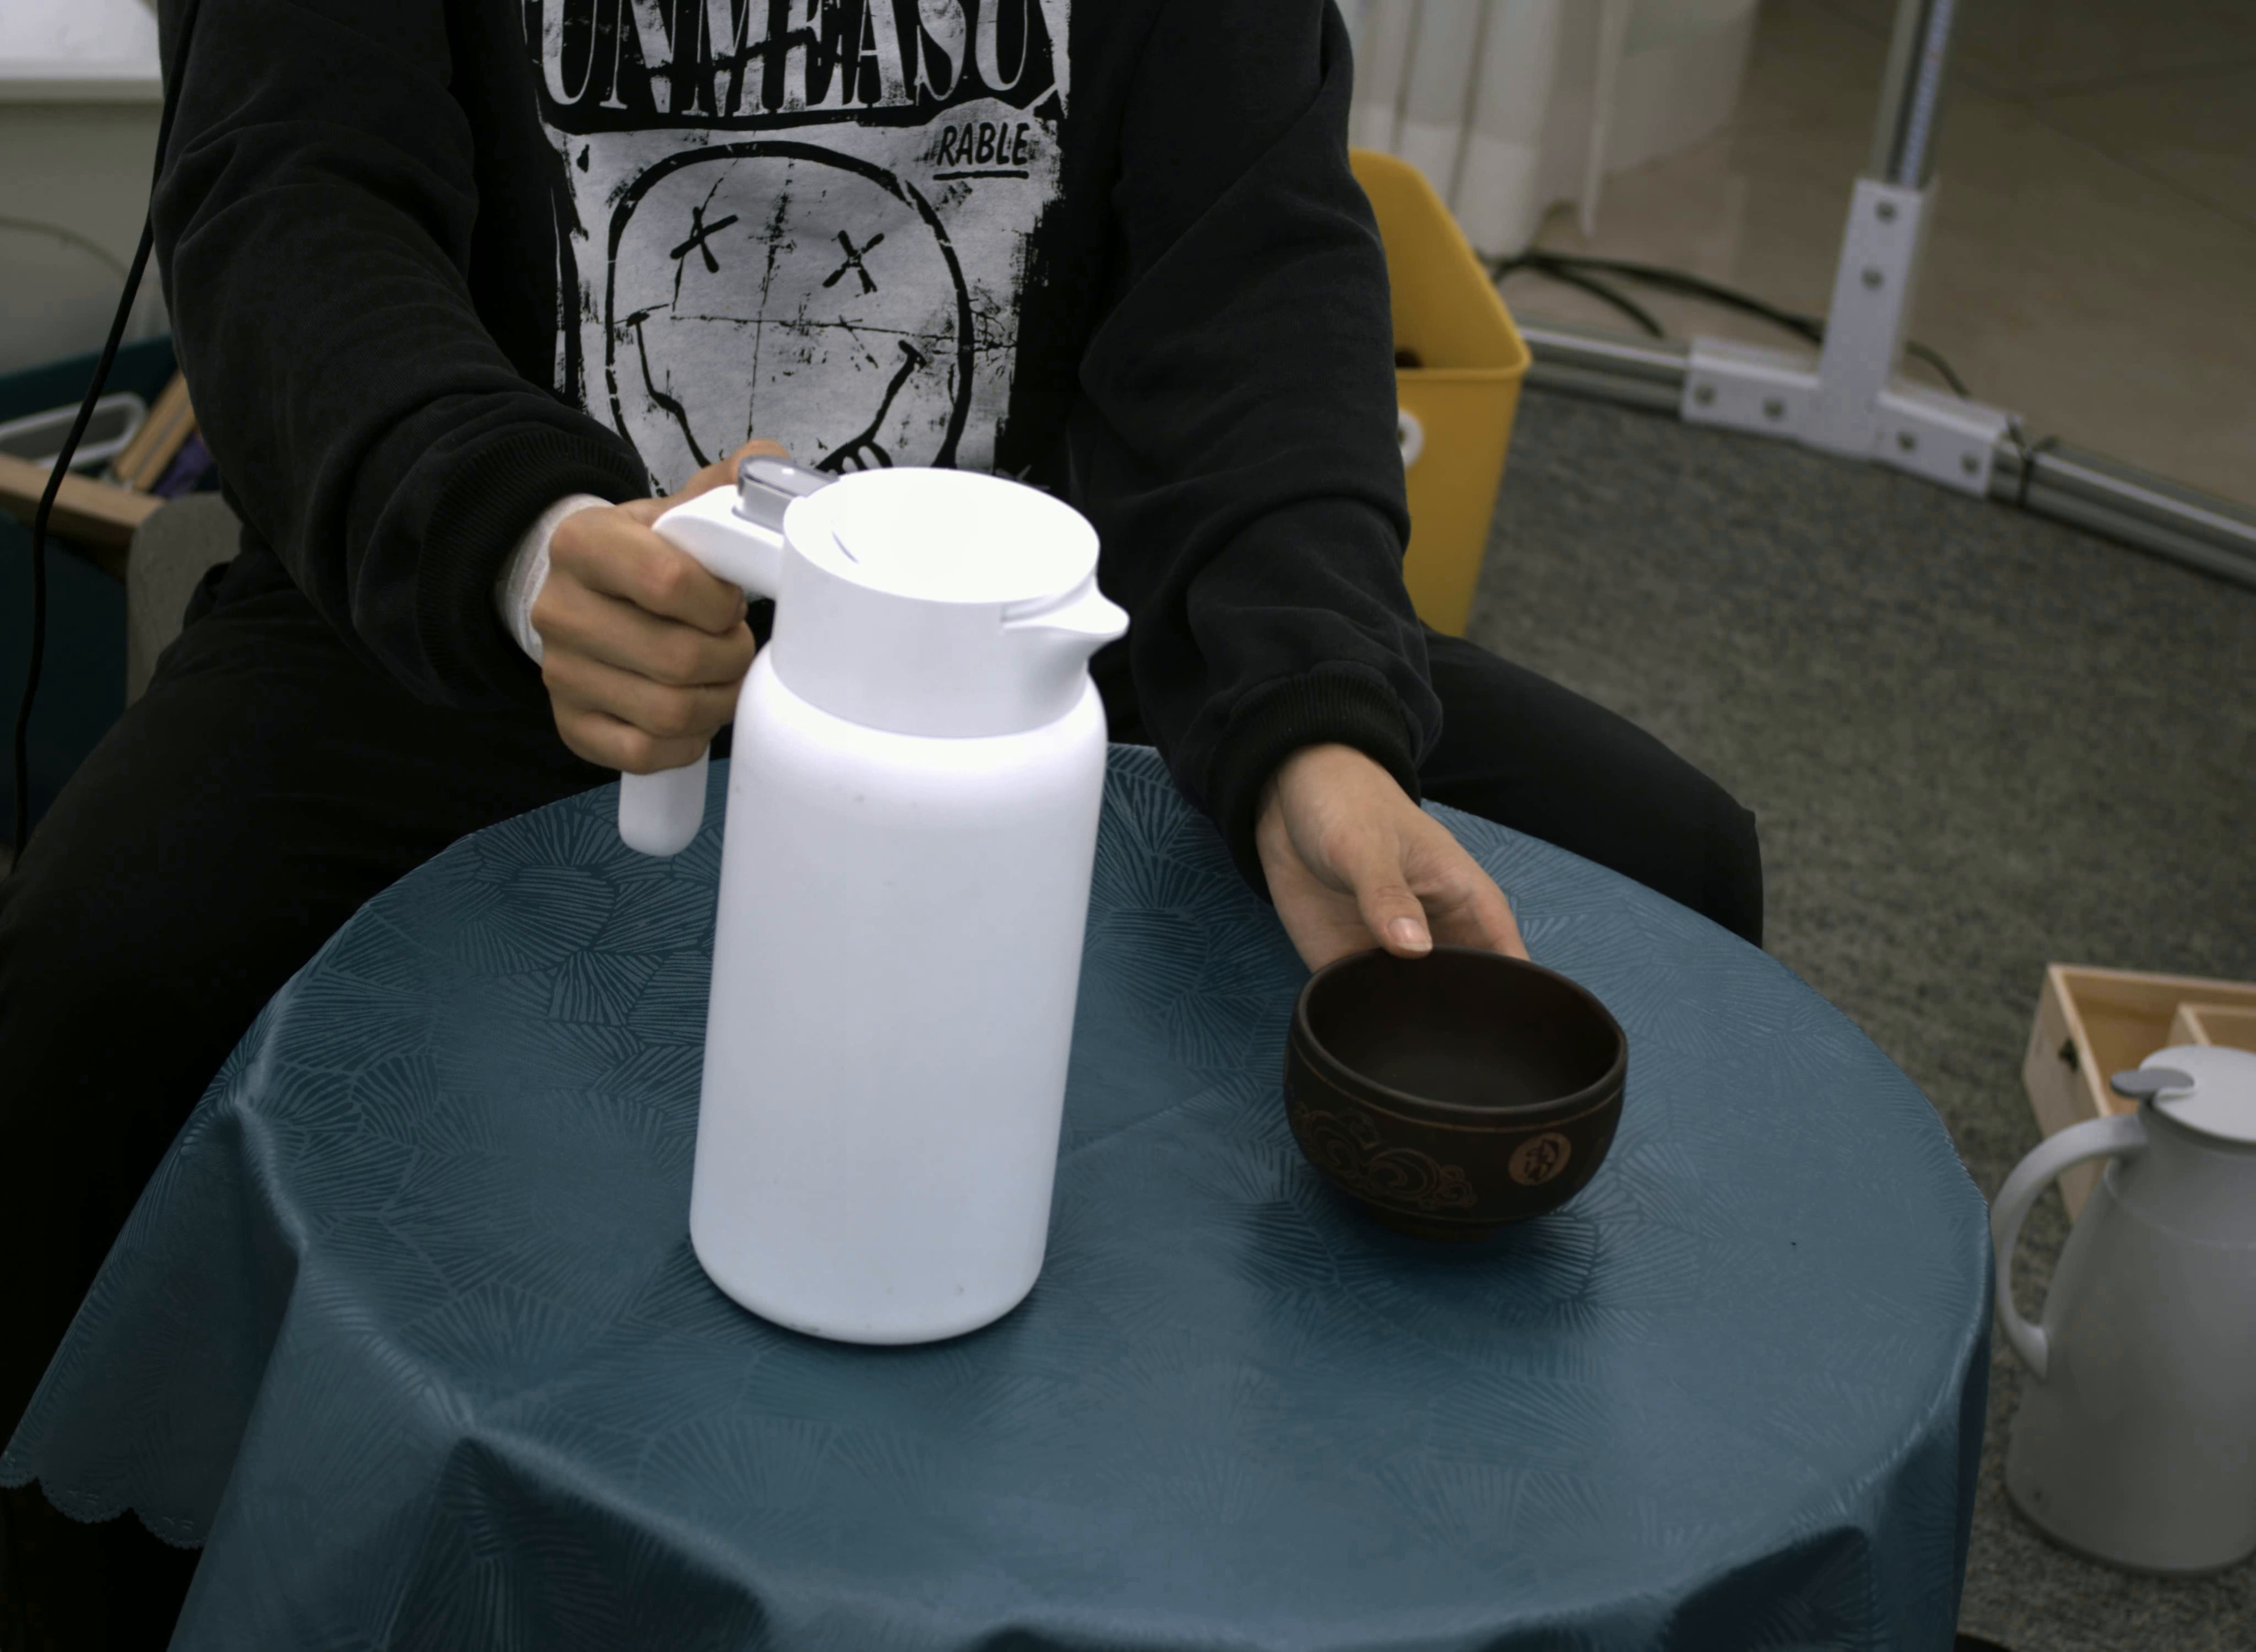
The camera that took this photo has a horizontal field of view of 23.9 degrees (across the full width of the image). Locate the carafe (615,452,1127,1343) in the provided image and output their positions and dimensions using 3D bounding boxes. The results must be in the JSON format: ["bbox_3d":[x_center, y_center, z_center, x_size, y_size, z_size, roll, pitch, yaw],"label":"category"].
[{"bbox_3d":[-0.088,0.020,1.697,0.173,0.268,0.123,21,31,26],"label":"carafe"}]

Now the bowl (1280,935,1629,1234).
[{"bbox_3d":[0.108,0.095,1.805,0.117,0.069,0.119,4,27,-3],"label":"bowl"}]
